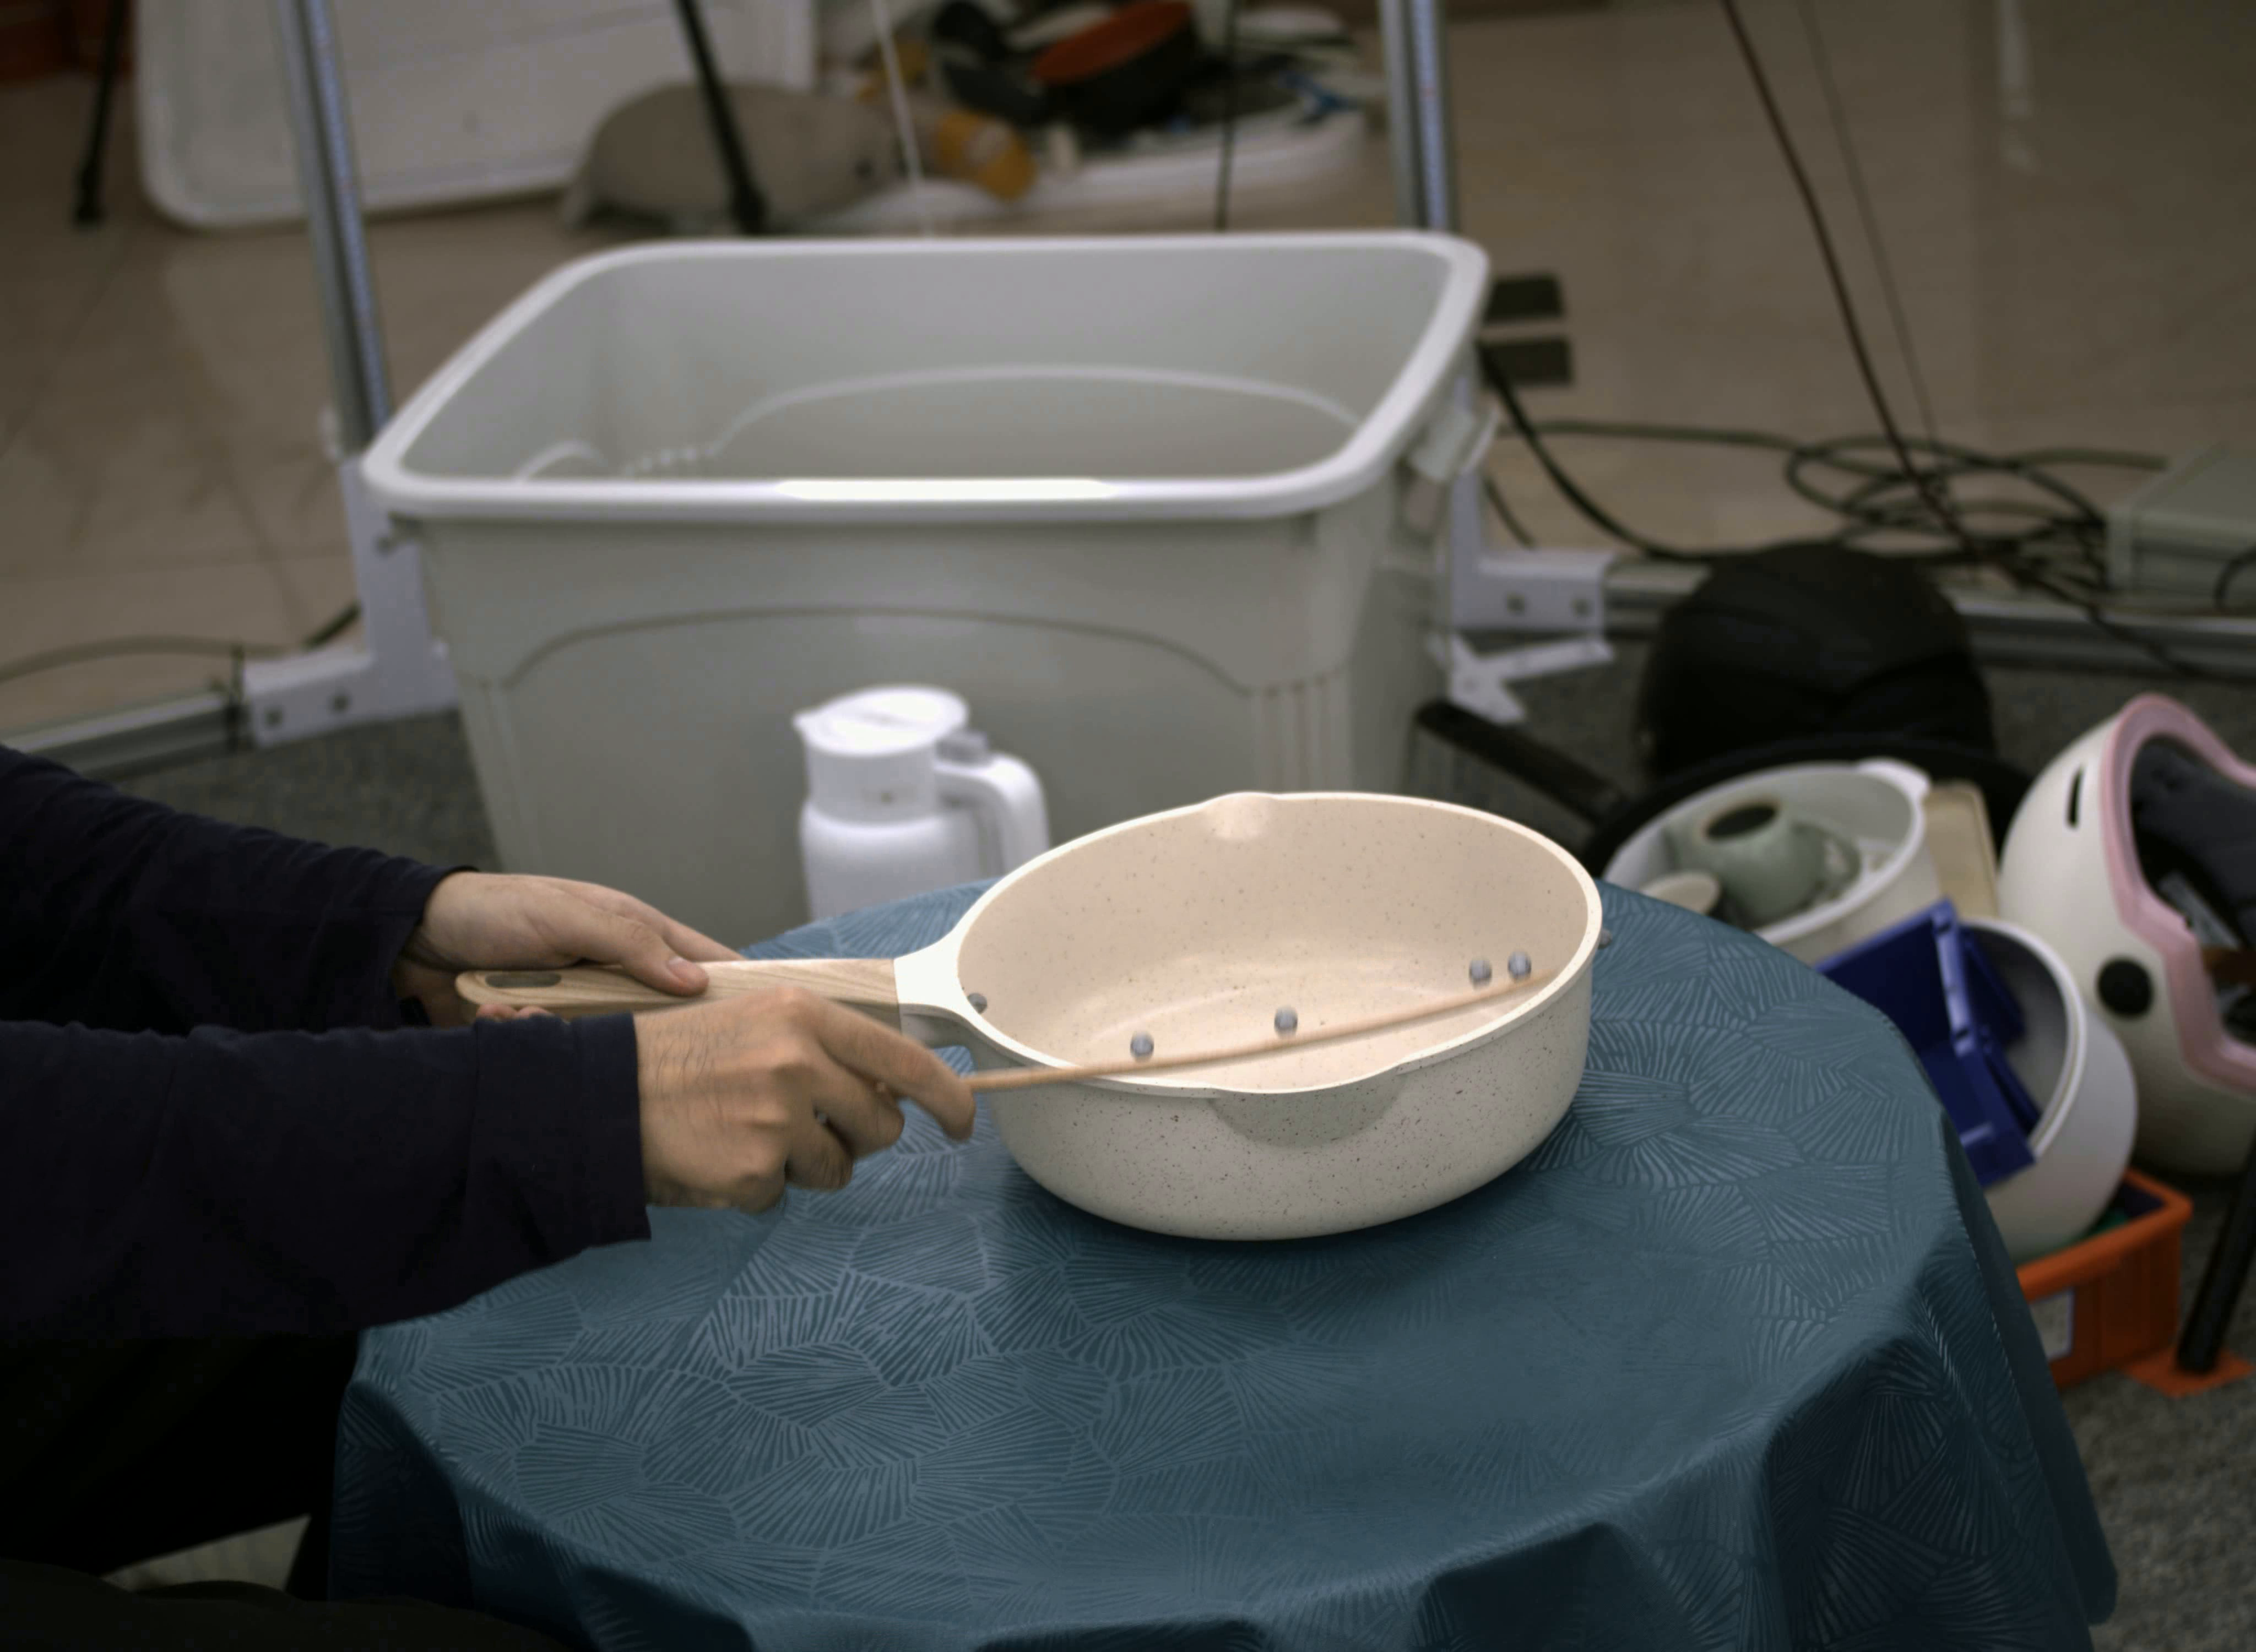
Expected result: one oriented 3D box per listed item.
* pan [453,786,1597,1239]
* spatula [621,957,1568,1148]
[{"bbox_3d":[-0.034,0.082,2.166,0.434,0.103,0.259,-8,26,-3],"label":"pan"},{"bbox_3d":[-0.012,0.078,1.944,0.327,0.016,0.080,-9,0,-3],"label":"spatula"}]
